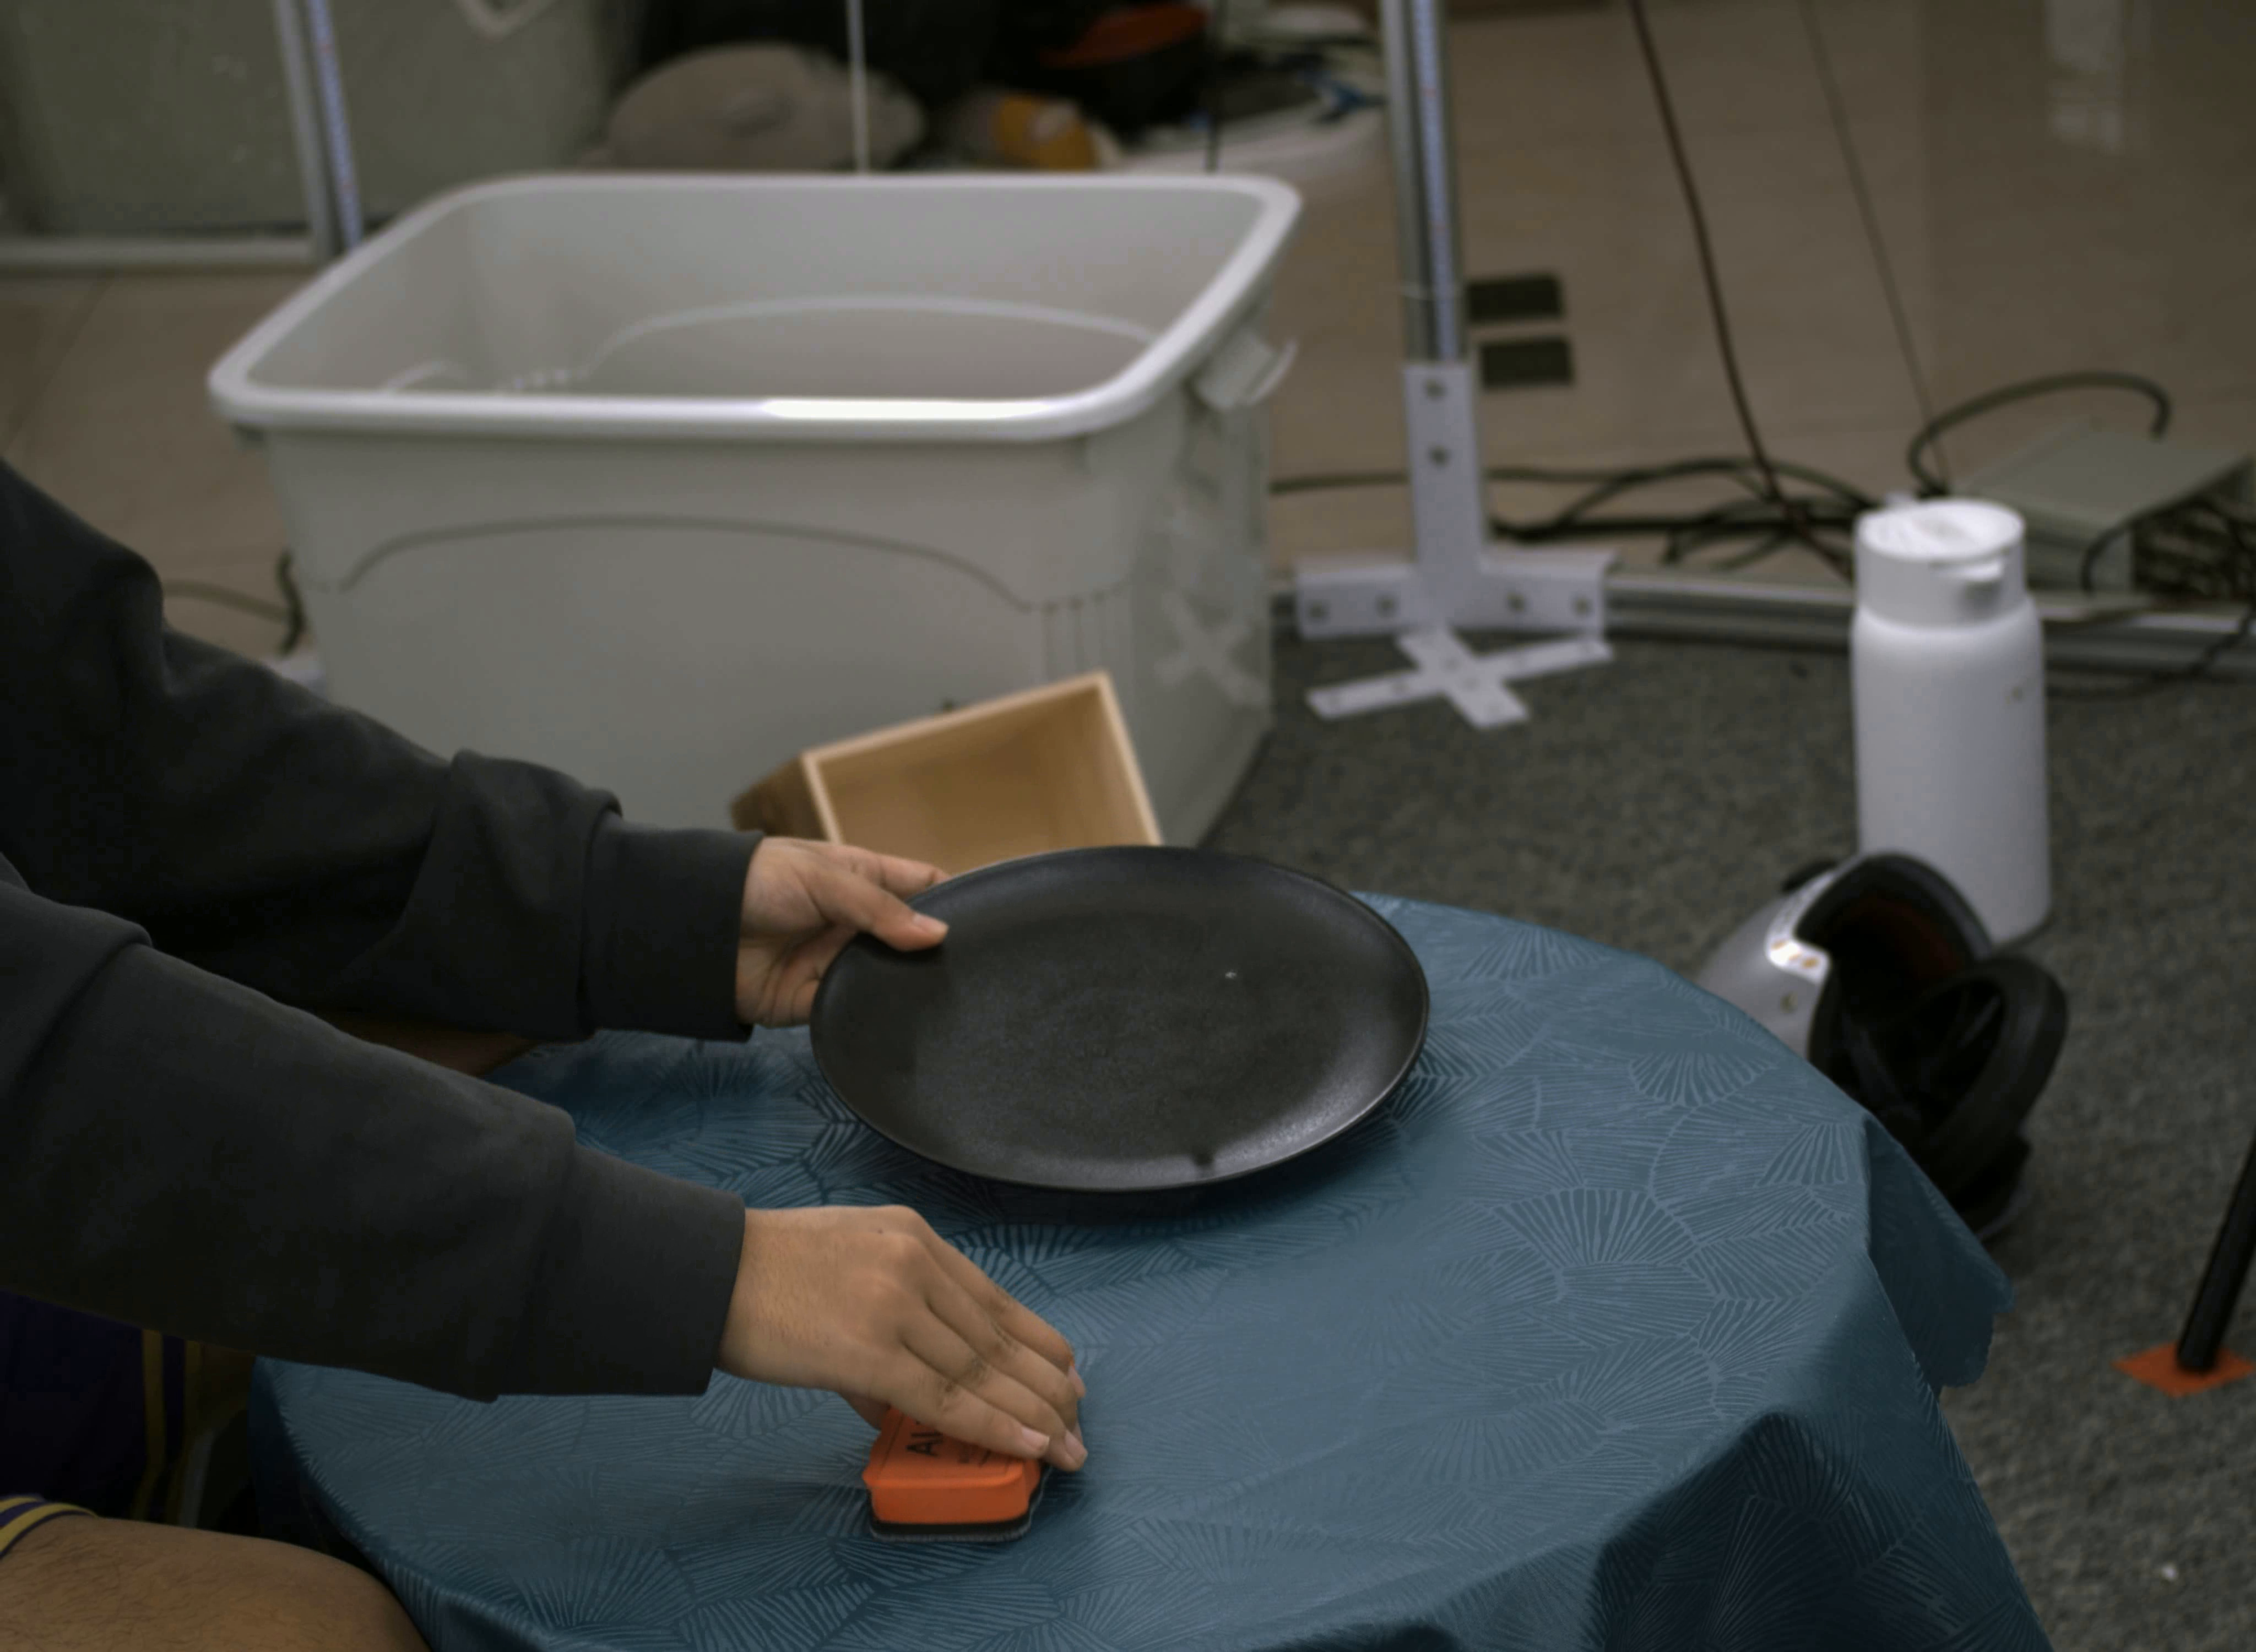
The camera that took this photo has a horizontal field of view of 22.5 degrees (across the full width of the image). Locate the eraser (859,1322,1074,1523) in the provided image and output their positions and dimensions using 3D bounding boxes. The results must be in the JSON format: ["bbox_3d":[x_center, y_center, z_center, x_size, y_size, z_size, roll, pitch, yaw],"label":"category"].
[{"bbox_3d":[-0.055,0.207,1.975,0.059,0.023,0.106,-2,22,12],"label":"eraser"}]

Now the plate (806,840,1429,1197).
[{"bbox_3d":[-0.004,0.079,2.212,0.244,0.024,0.240,-1,33,1],"label":"plate"}]
